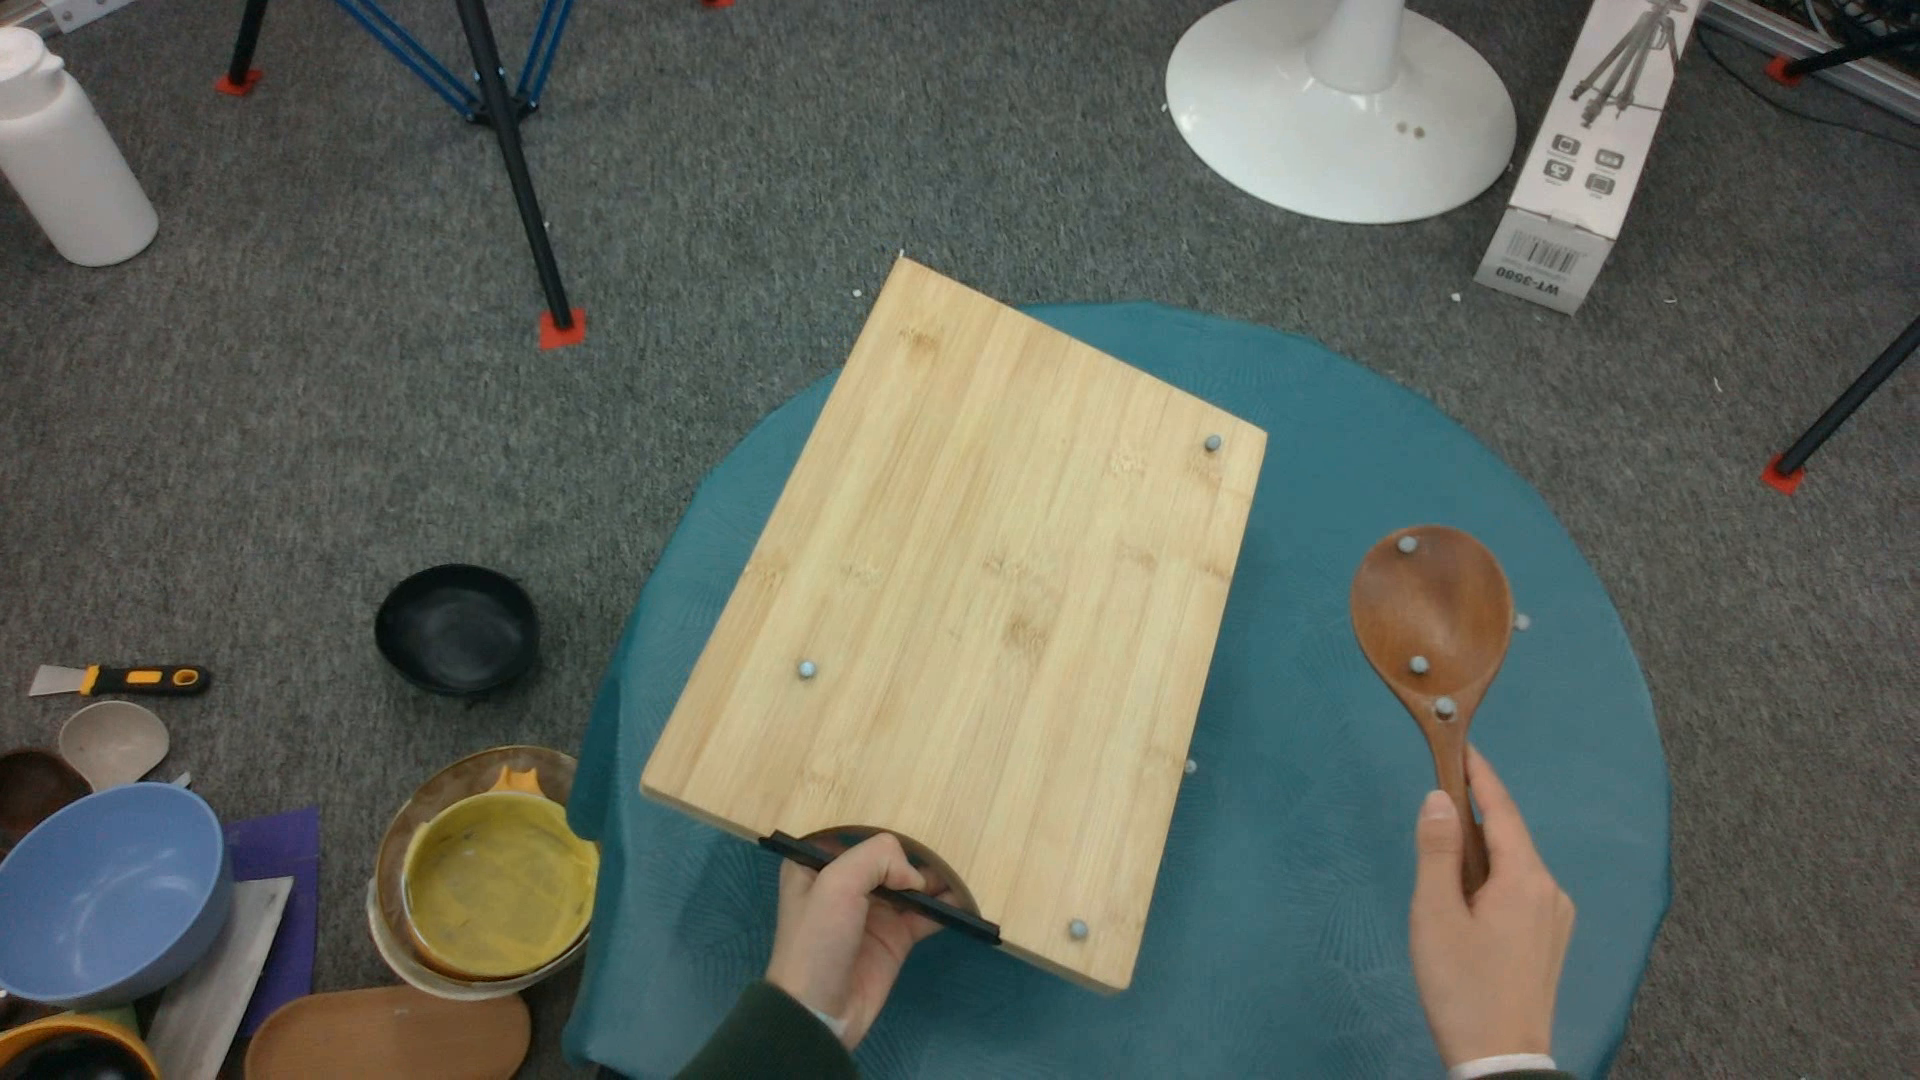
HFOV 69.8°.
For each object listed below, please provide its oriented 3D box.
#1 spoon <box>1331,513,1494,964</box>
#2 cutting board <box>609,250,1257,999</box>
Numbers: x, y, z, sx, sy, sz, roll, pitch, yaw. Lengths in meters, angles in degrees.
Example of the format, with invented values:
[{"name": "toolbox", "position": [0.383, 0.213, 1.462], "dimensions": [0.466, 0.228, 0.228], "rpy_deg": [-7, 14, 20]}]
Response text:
[{"name": "spoon", "position": [0.217, 0.085, 0.638], "dimensions": [0.075, 0.017, 0.216], "rpy_deg": [-3, 61, 10]}, {"name": "cutting board", "position": [0.009, 0.024, 0.709], "dimensions": [0.251, 0.023, 0.350], "rpy_deg": [23, 58, -5]}]
